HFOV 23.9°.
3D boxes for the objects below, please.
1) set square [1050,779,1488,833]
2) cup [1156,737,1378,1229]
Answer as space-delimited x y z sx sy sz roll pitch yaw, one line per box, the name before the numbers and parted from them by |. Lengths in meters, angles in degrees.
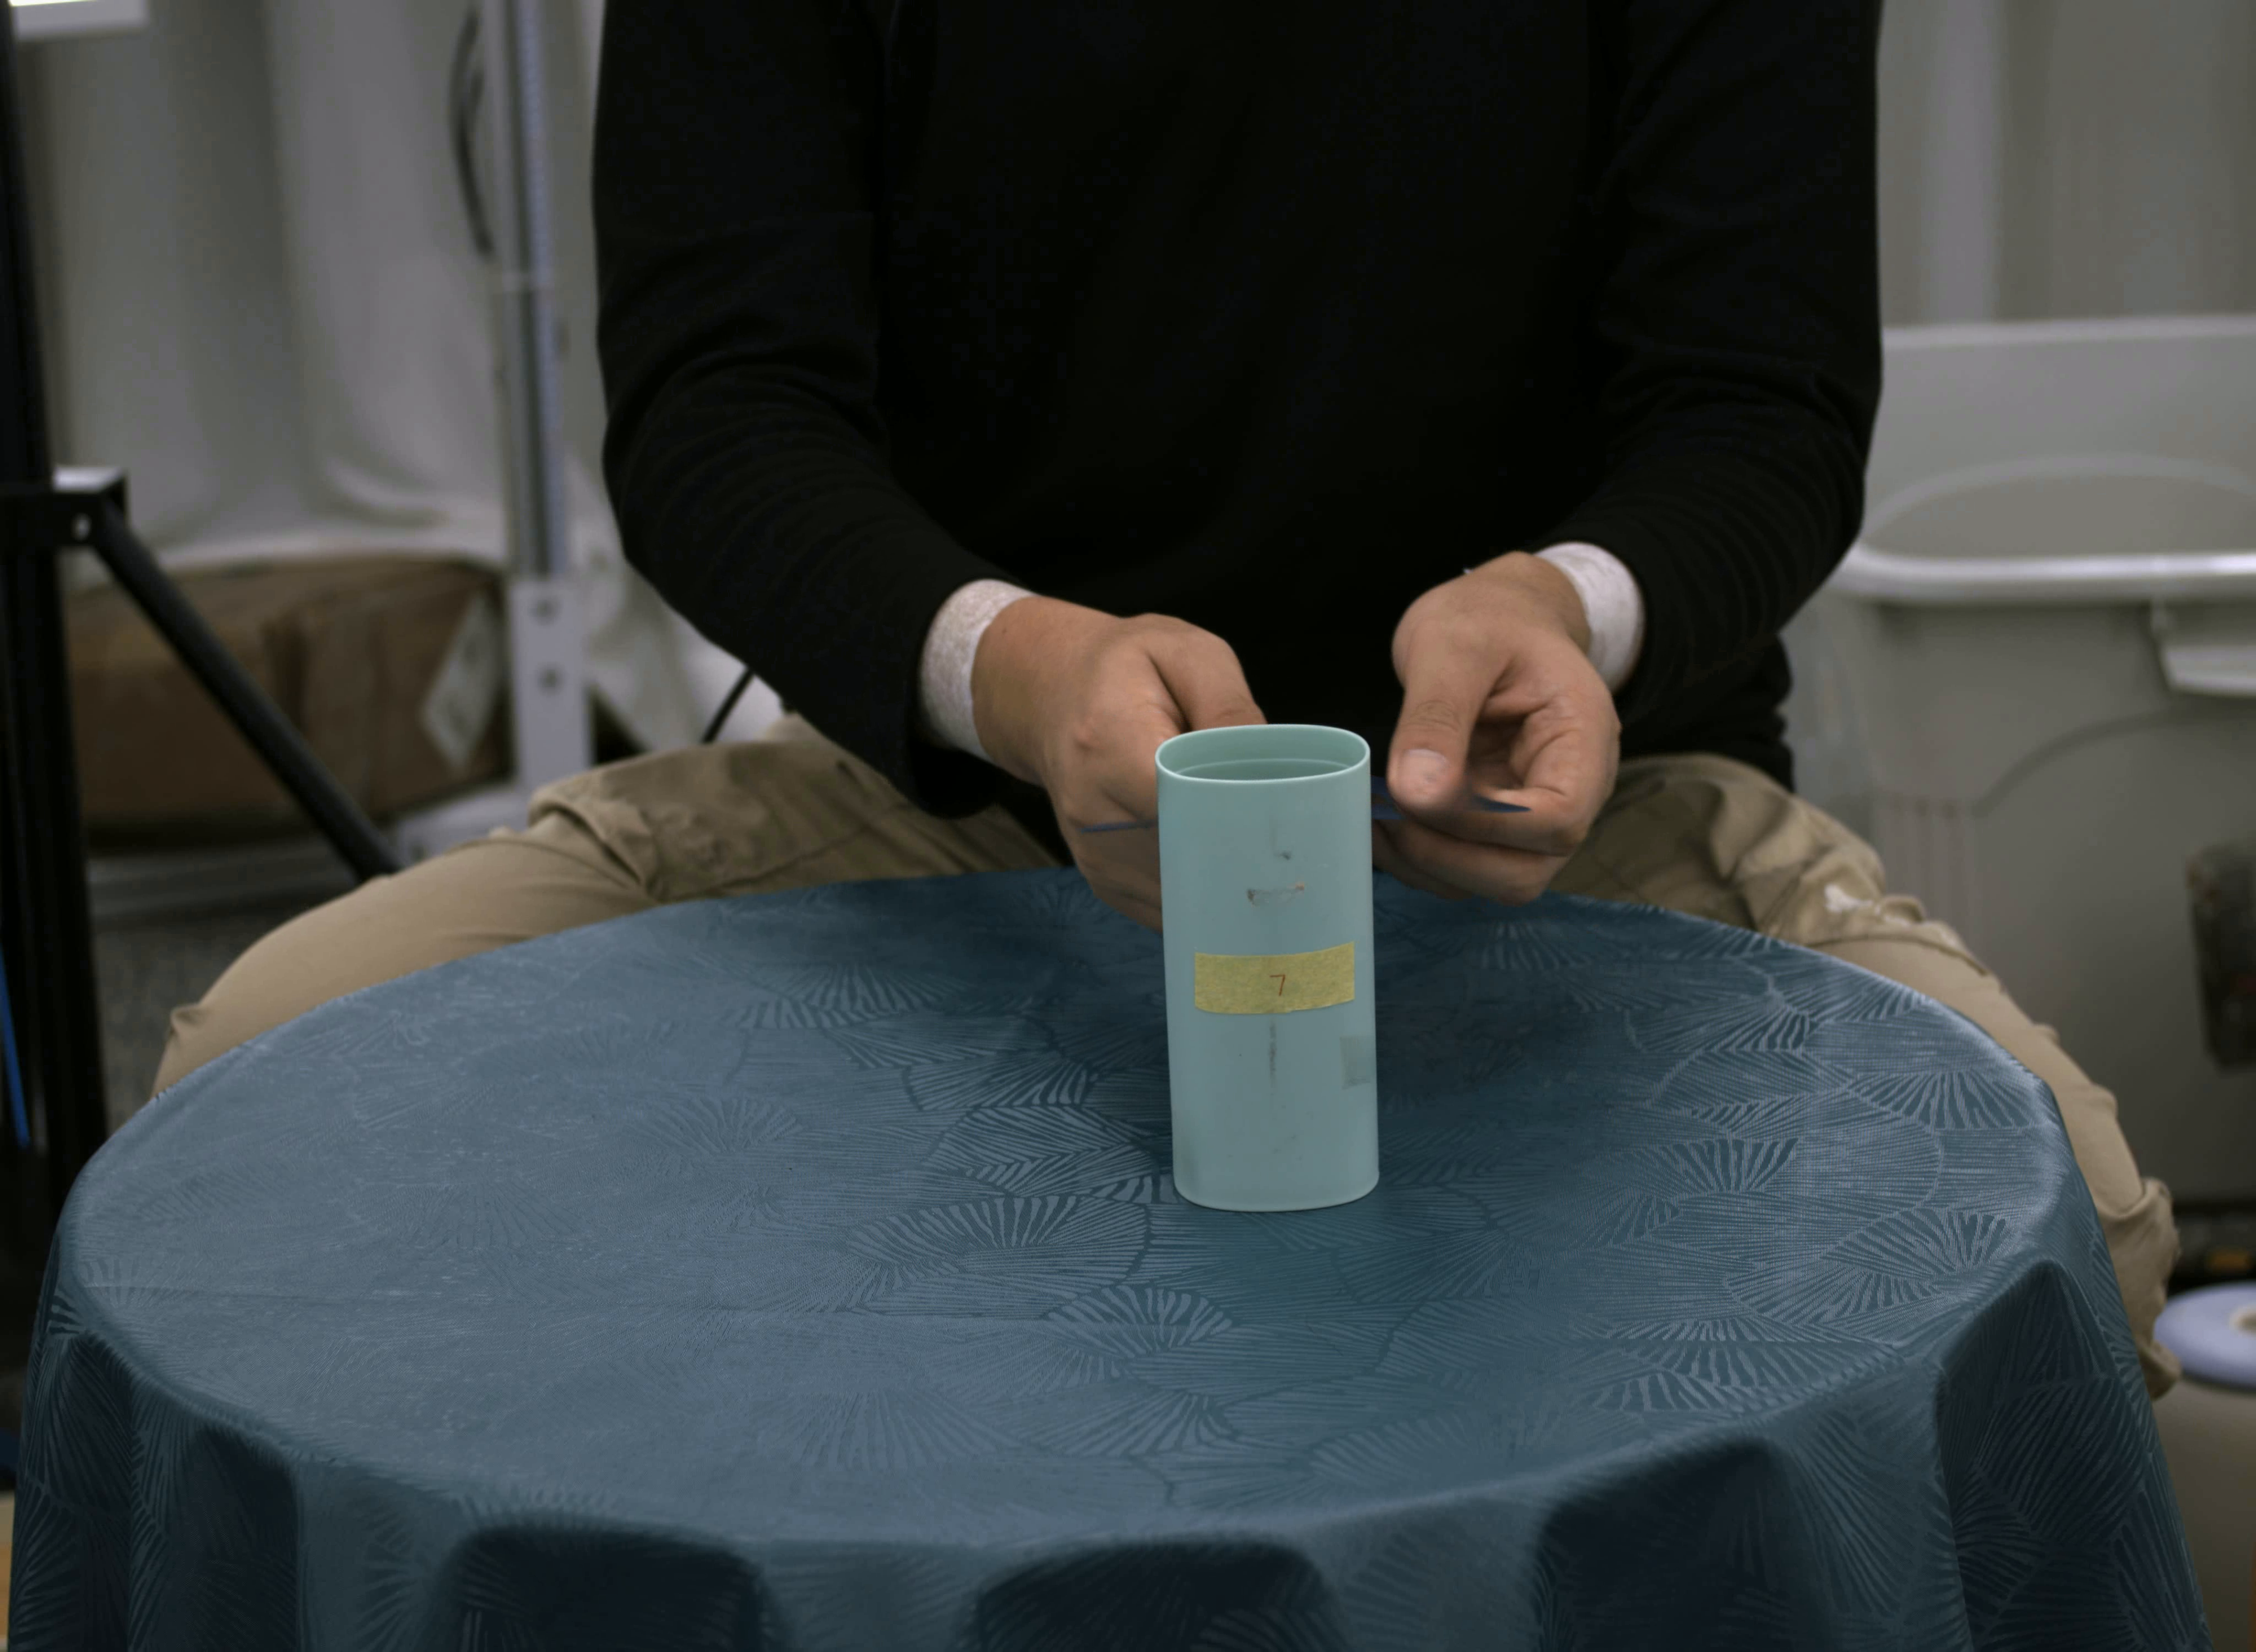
set square | 0.040 -0.008 1.612 0.131 0.006 0.061 -2 13 -5
cup | 0.042 0.045 1.548 0.066 0.132 0.067 -3 16 -1
